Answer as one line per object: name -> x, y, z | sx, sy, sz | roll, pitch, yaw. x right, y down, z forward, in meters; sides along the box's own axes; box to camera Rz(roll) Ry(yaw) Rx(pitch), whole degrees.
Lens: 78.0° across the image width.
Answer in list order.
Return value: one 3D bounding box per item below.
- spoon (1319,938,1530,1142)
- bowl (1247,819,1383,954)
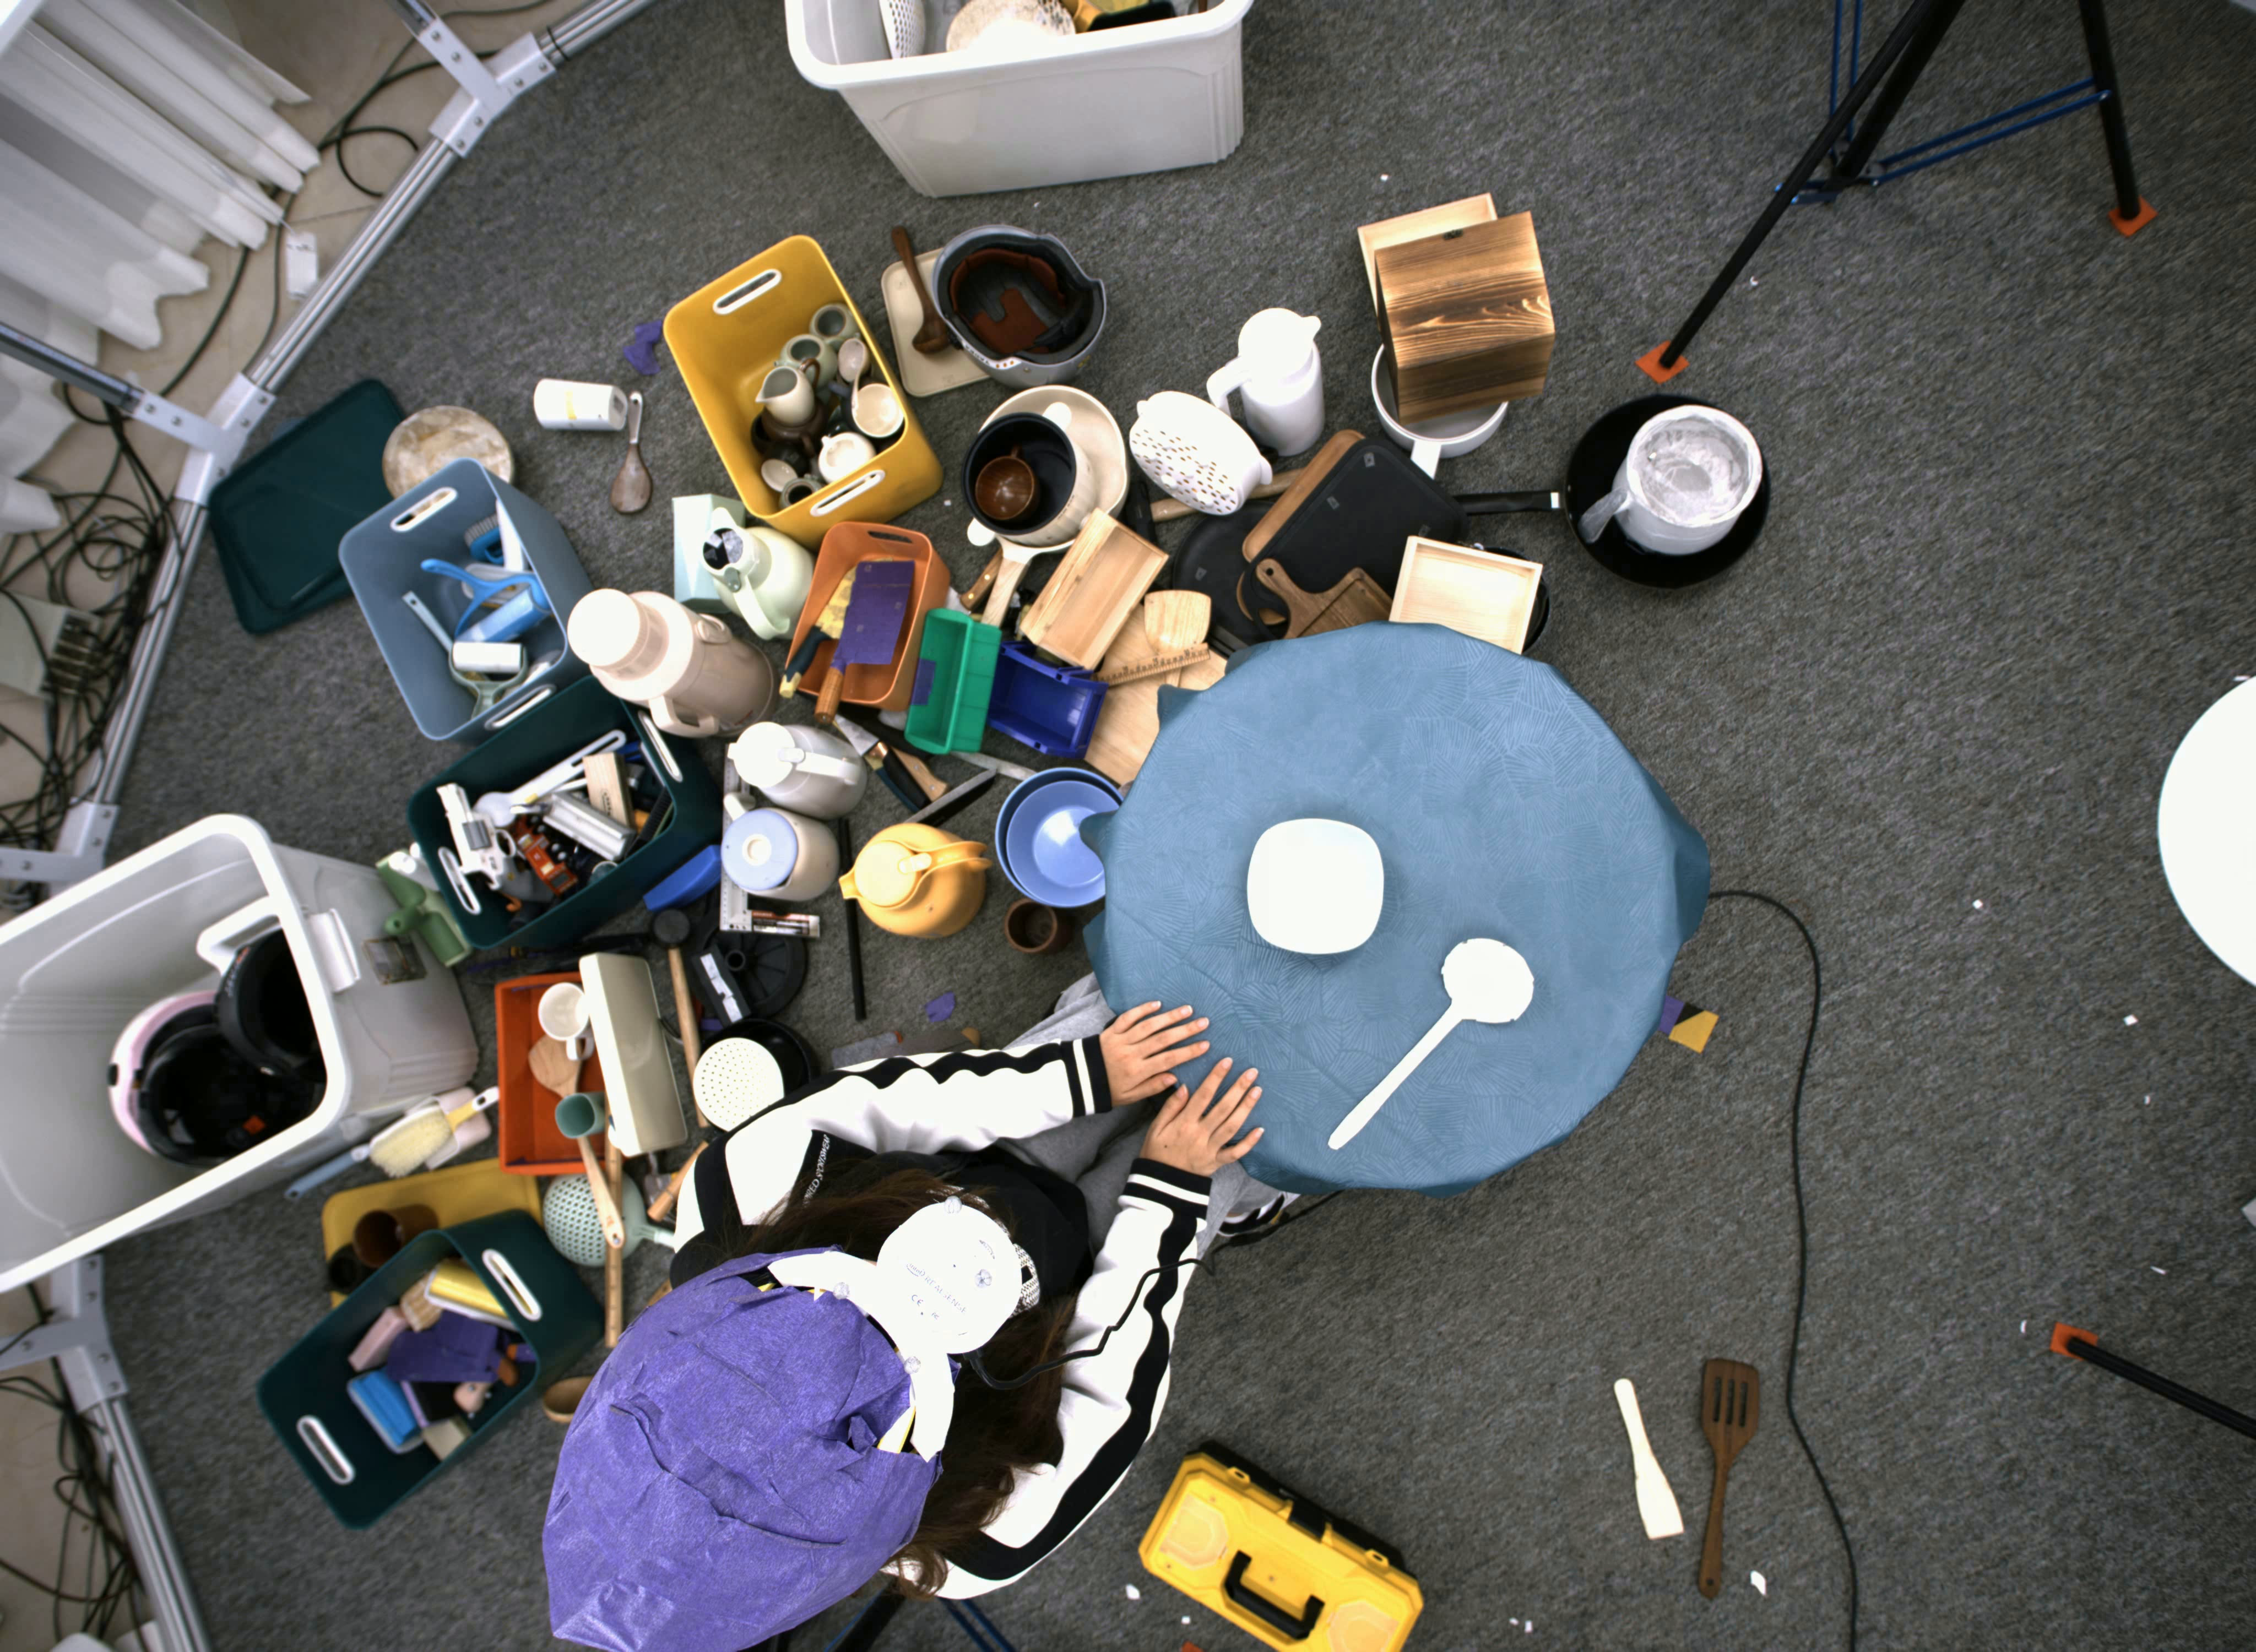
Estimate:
spoon -> 0.293, 0.224, 1.419 | 0.278, 0.059, 0.100 | -44, 75, 5
bowl -> 0.196, 0.064, 1.448 | 0.152, 0.058, 0.151 | -1, 86, 10
